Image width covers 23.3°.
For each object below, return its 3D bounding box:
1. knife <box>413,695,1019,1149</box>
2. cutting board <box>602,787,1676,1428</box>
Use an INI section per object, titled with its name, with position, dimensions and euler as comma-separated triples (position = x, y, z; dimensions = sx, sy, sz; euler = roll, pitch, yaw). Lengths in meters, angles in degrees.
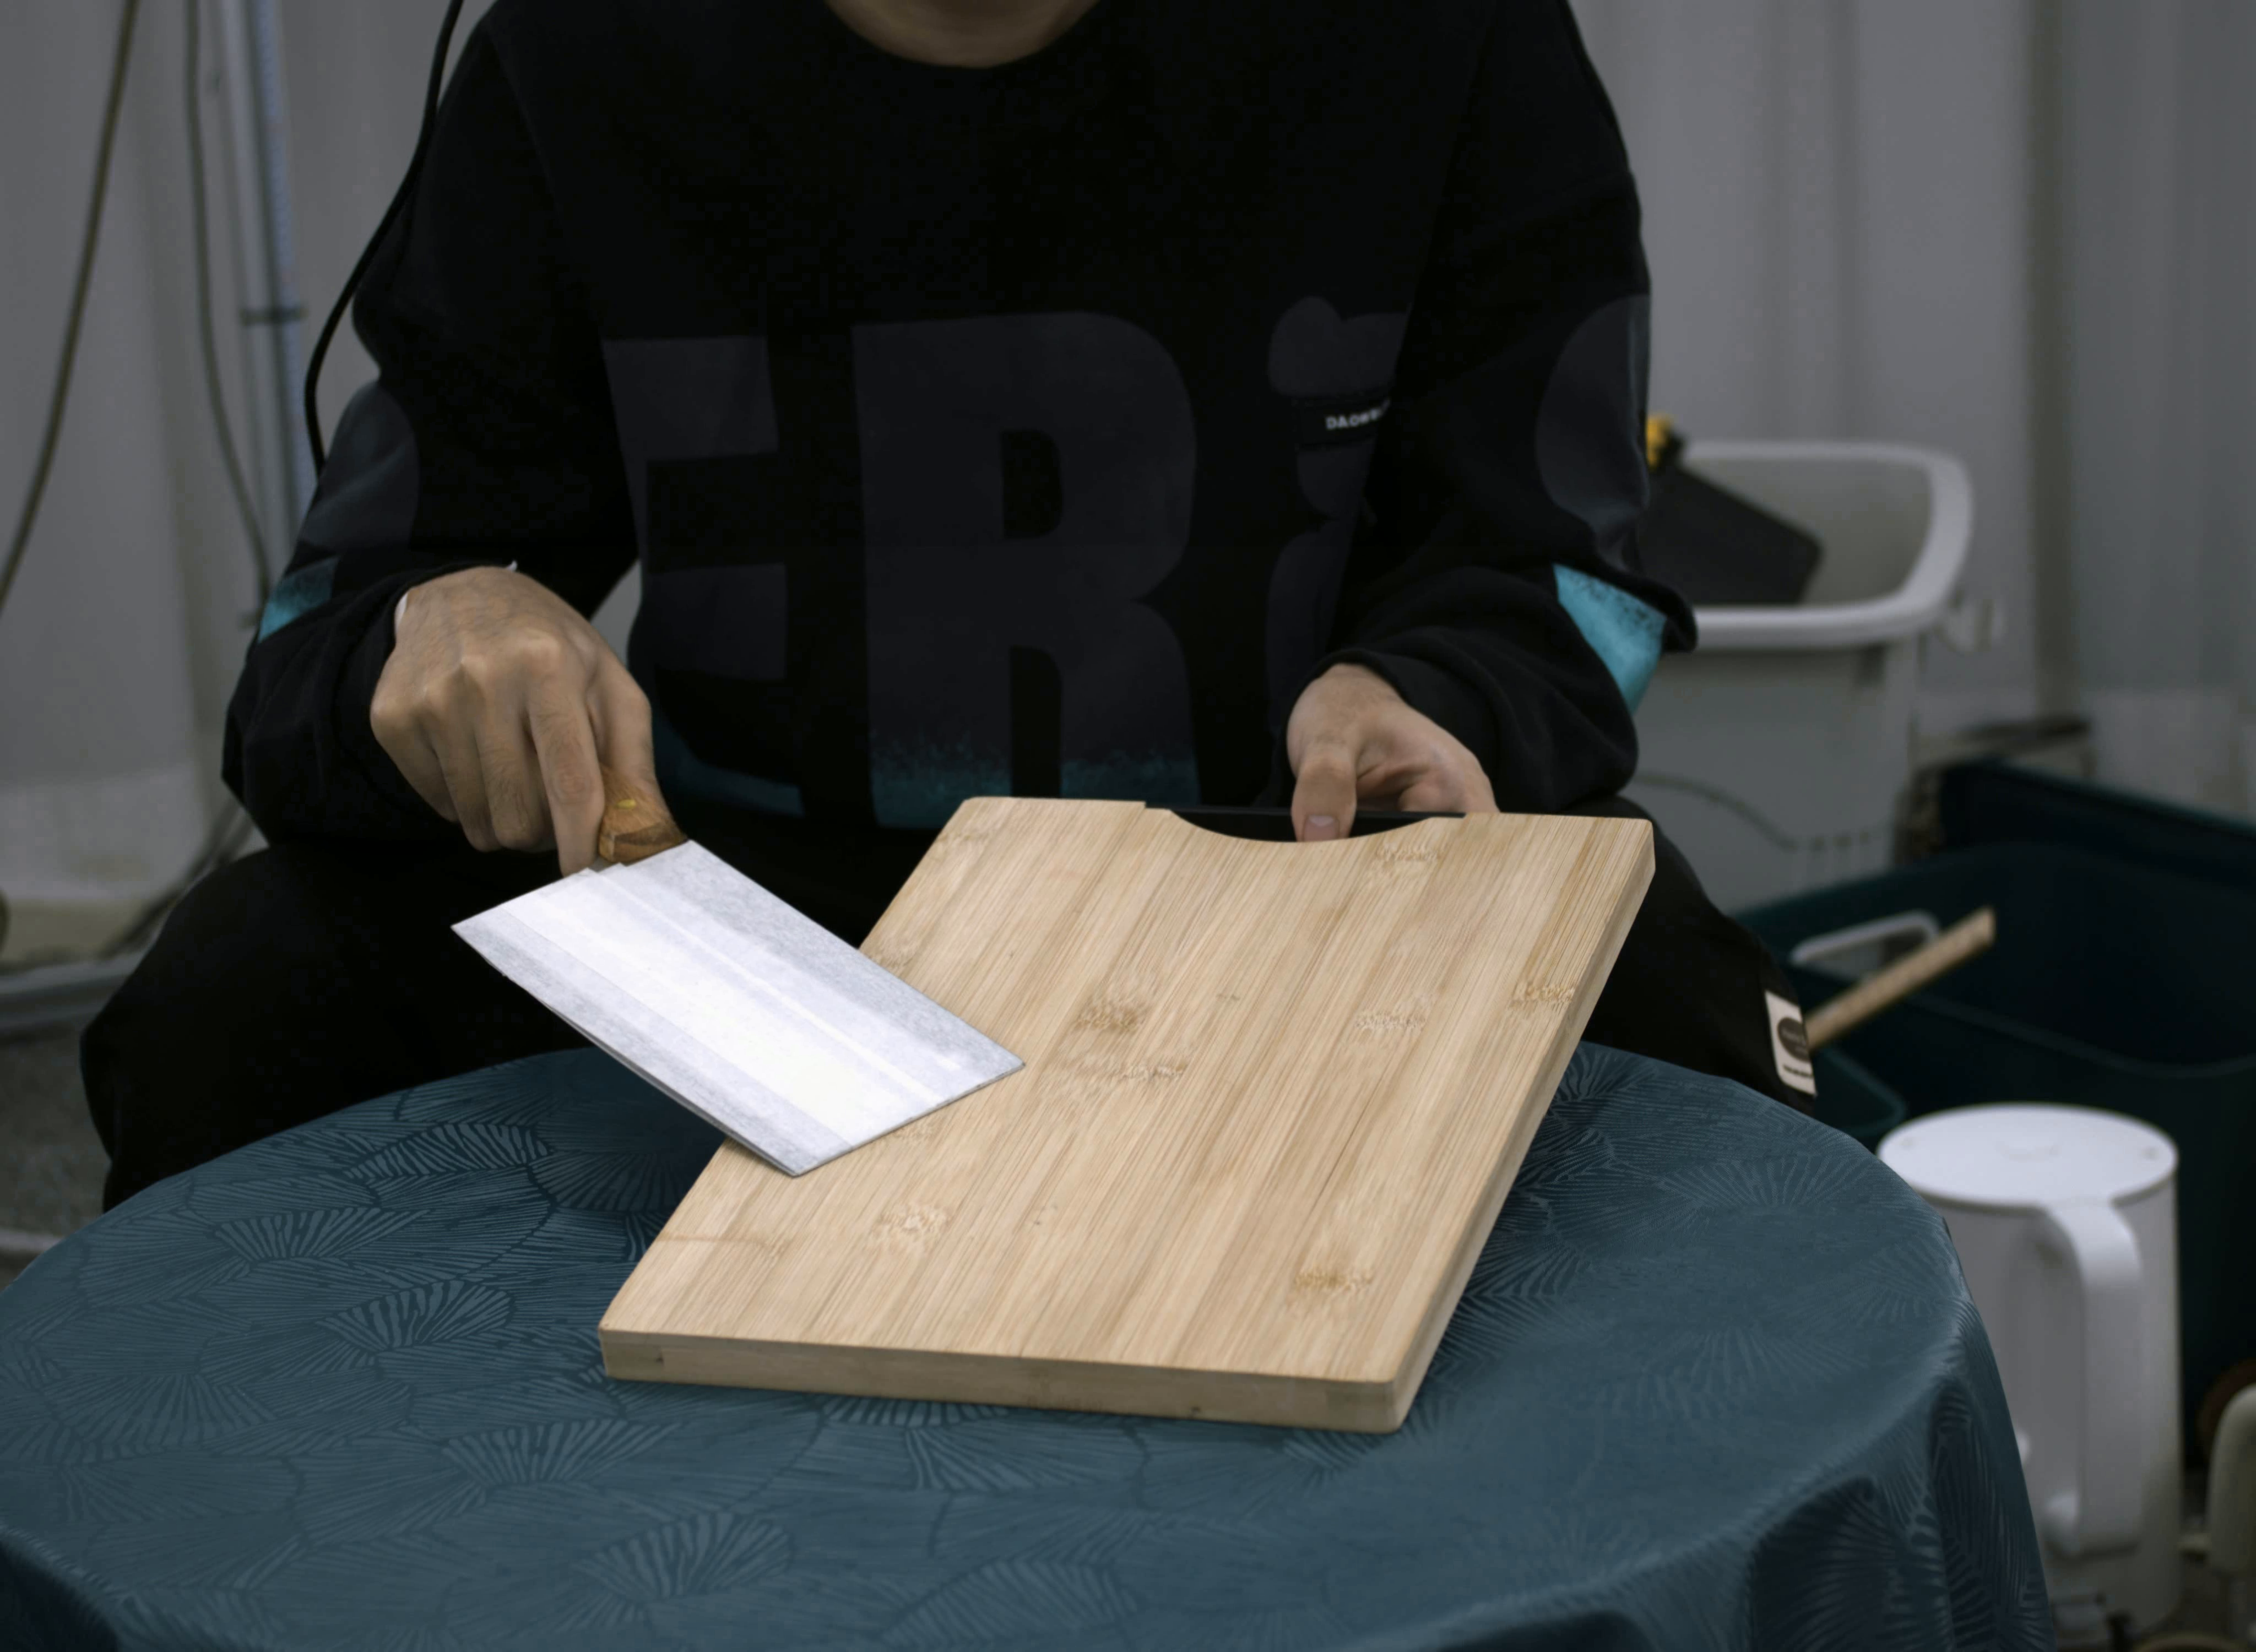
[knife]
position = -0.159, 0.031, 1.765
dimensions = 0.093, 0.021, 0.309
euler = -24, 37, -31
[cutting board]
position = 0.013, 0.077, 1.685
dimensions = 0.250, 0.023, 0.352
euler = 2, 27, 18
